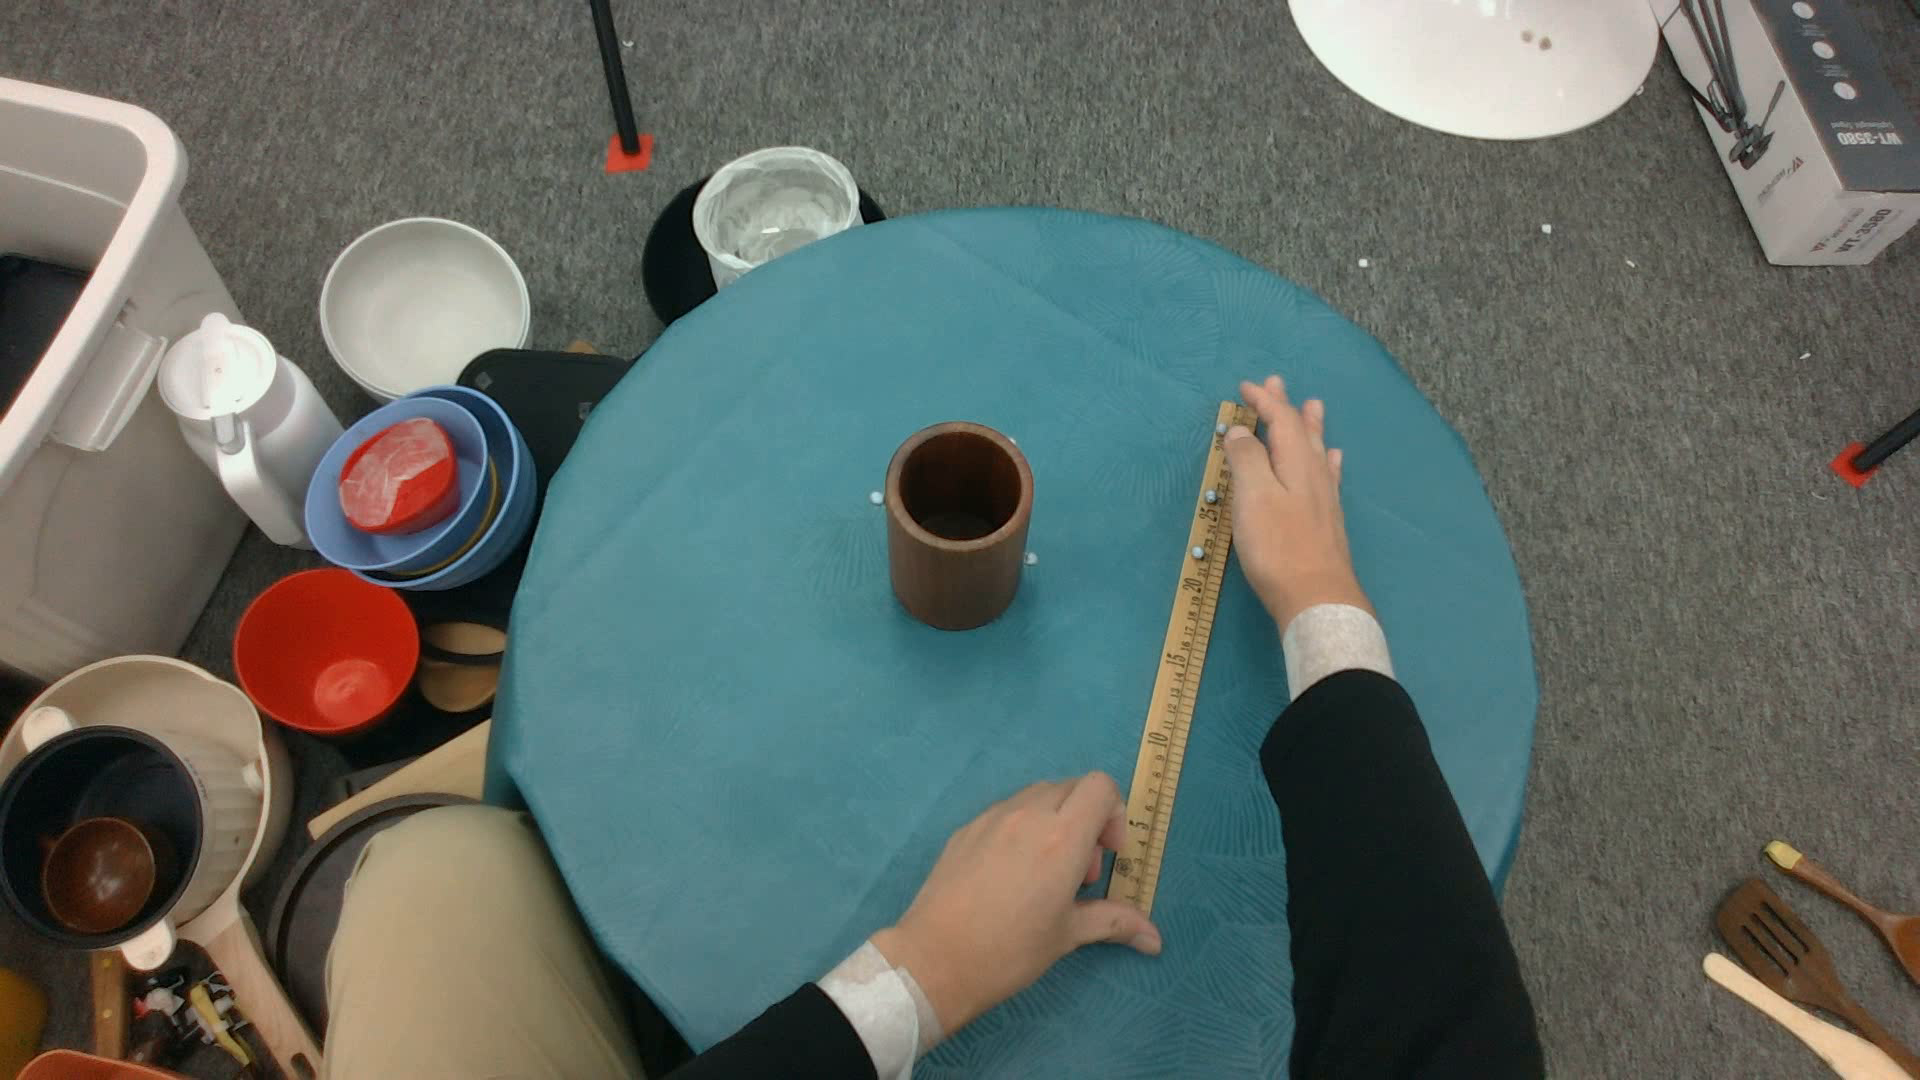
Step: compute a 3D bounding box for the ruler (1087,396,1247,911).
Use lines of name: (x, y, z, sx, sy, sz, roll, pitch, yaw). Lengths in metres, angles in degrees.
ruler: (0.126, 0.052, 0.807, 0.027, 0.022, 0.333, 13, 64, 11)

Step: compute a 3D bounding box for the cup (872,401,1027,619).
cup: (-0.007, -0.014, 0.773, 0.088, 0.118, 0.088, 1, 64, -1)
